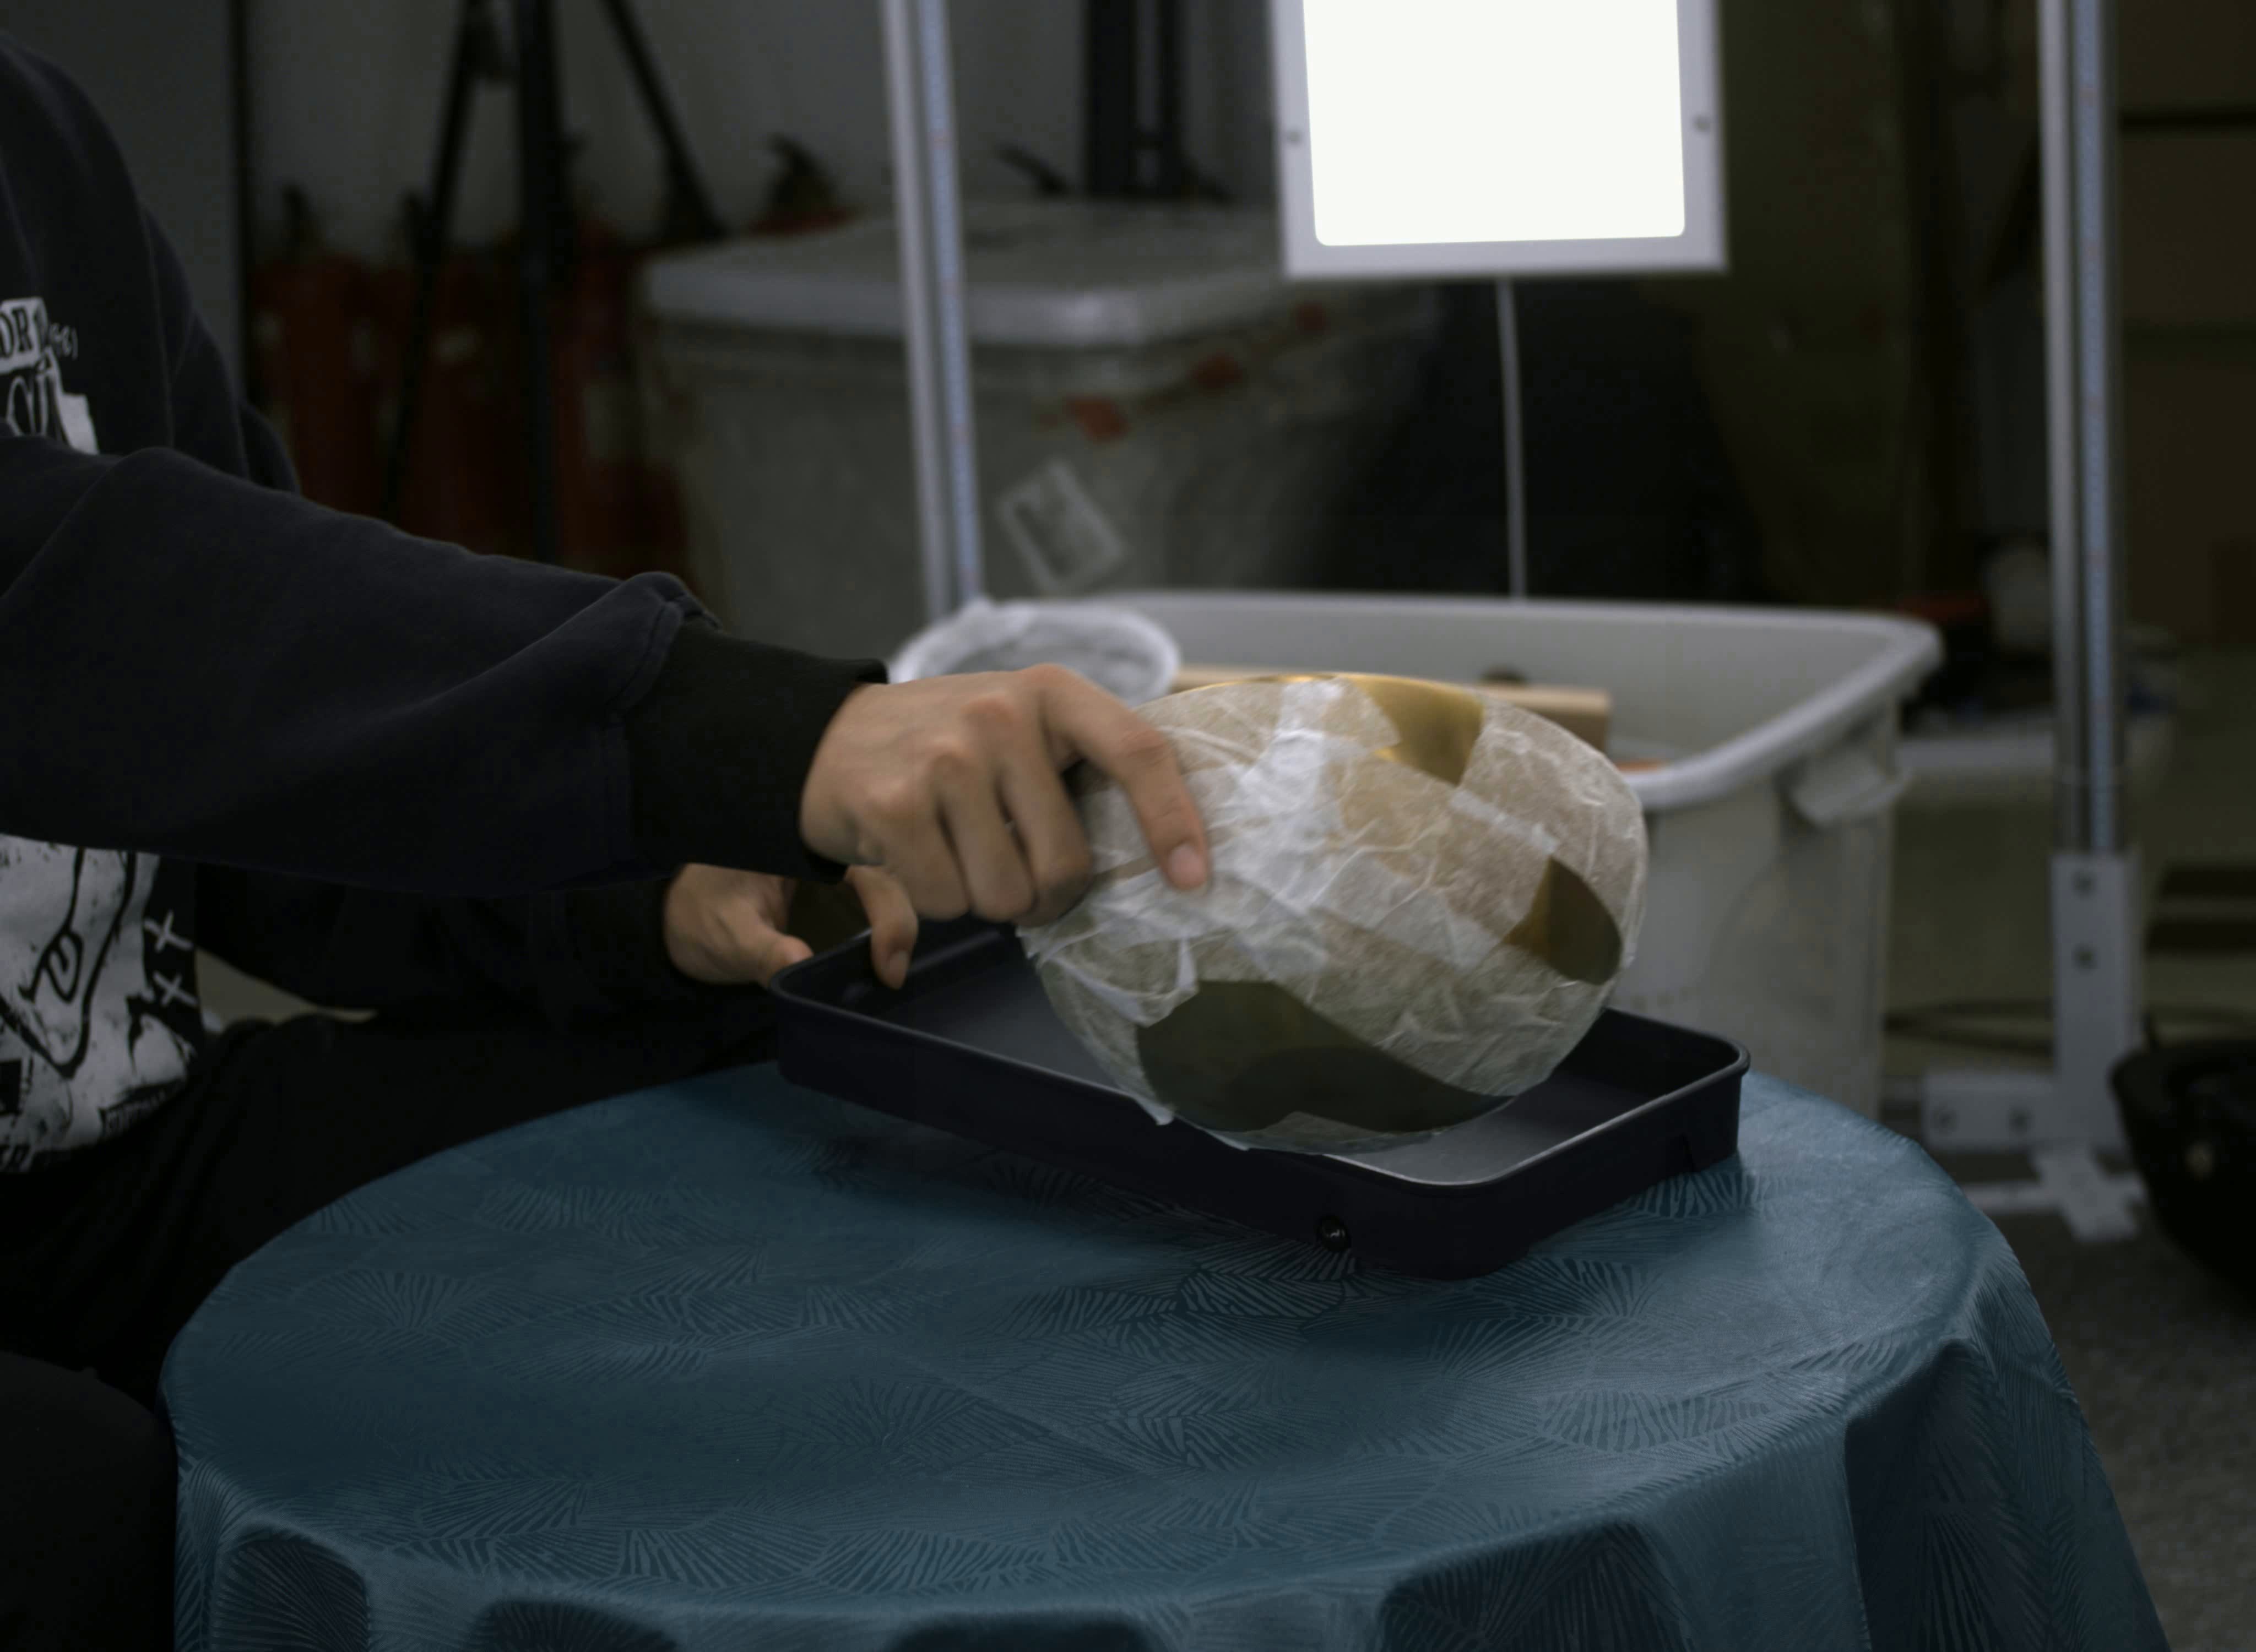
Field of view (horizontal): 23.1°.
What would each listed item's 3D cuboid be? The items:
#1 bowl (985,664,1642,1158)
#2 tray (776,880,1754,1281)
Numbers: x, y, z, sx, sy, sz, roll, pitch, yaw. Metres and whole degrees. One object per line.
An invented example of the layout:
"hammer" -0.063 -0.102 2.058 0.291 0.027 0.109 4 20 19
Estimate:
"bowl" 0.056 0.045 1.707 0.214 0.094 0.216 3 -30 0
"tray" 0.045 0.080 1.921 0.324 0.037 0.179 15 25 40
